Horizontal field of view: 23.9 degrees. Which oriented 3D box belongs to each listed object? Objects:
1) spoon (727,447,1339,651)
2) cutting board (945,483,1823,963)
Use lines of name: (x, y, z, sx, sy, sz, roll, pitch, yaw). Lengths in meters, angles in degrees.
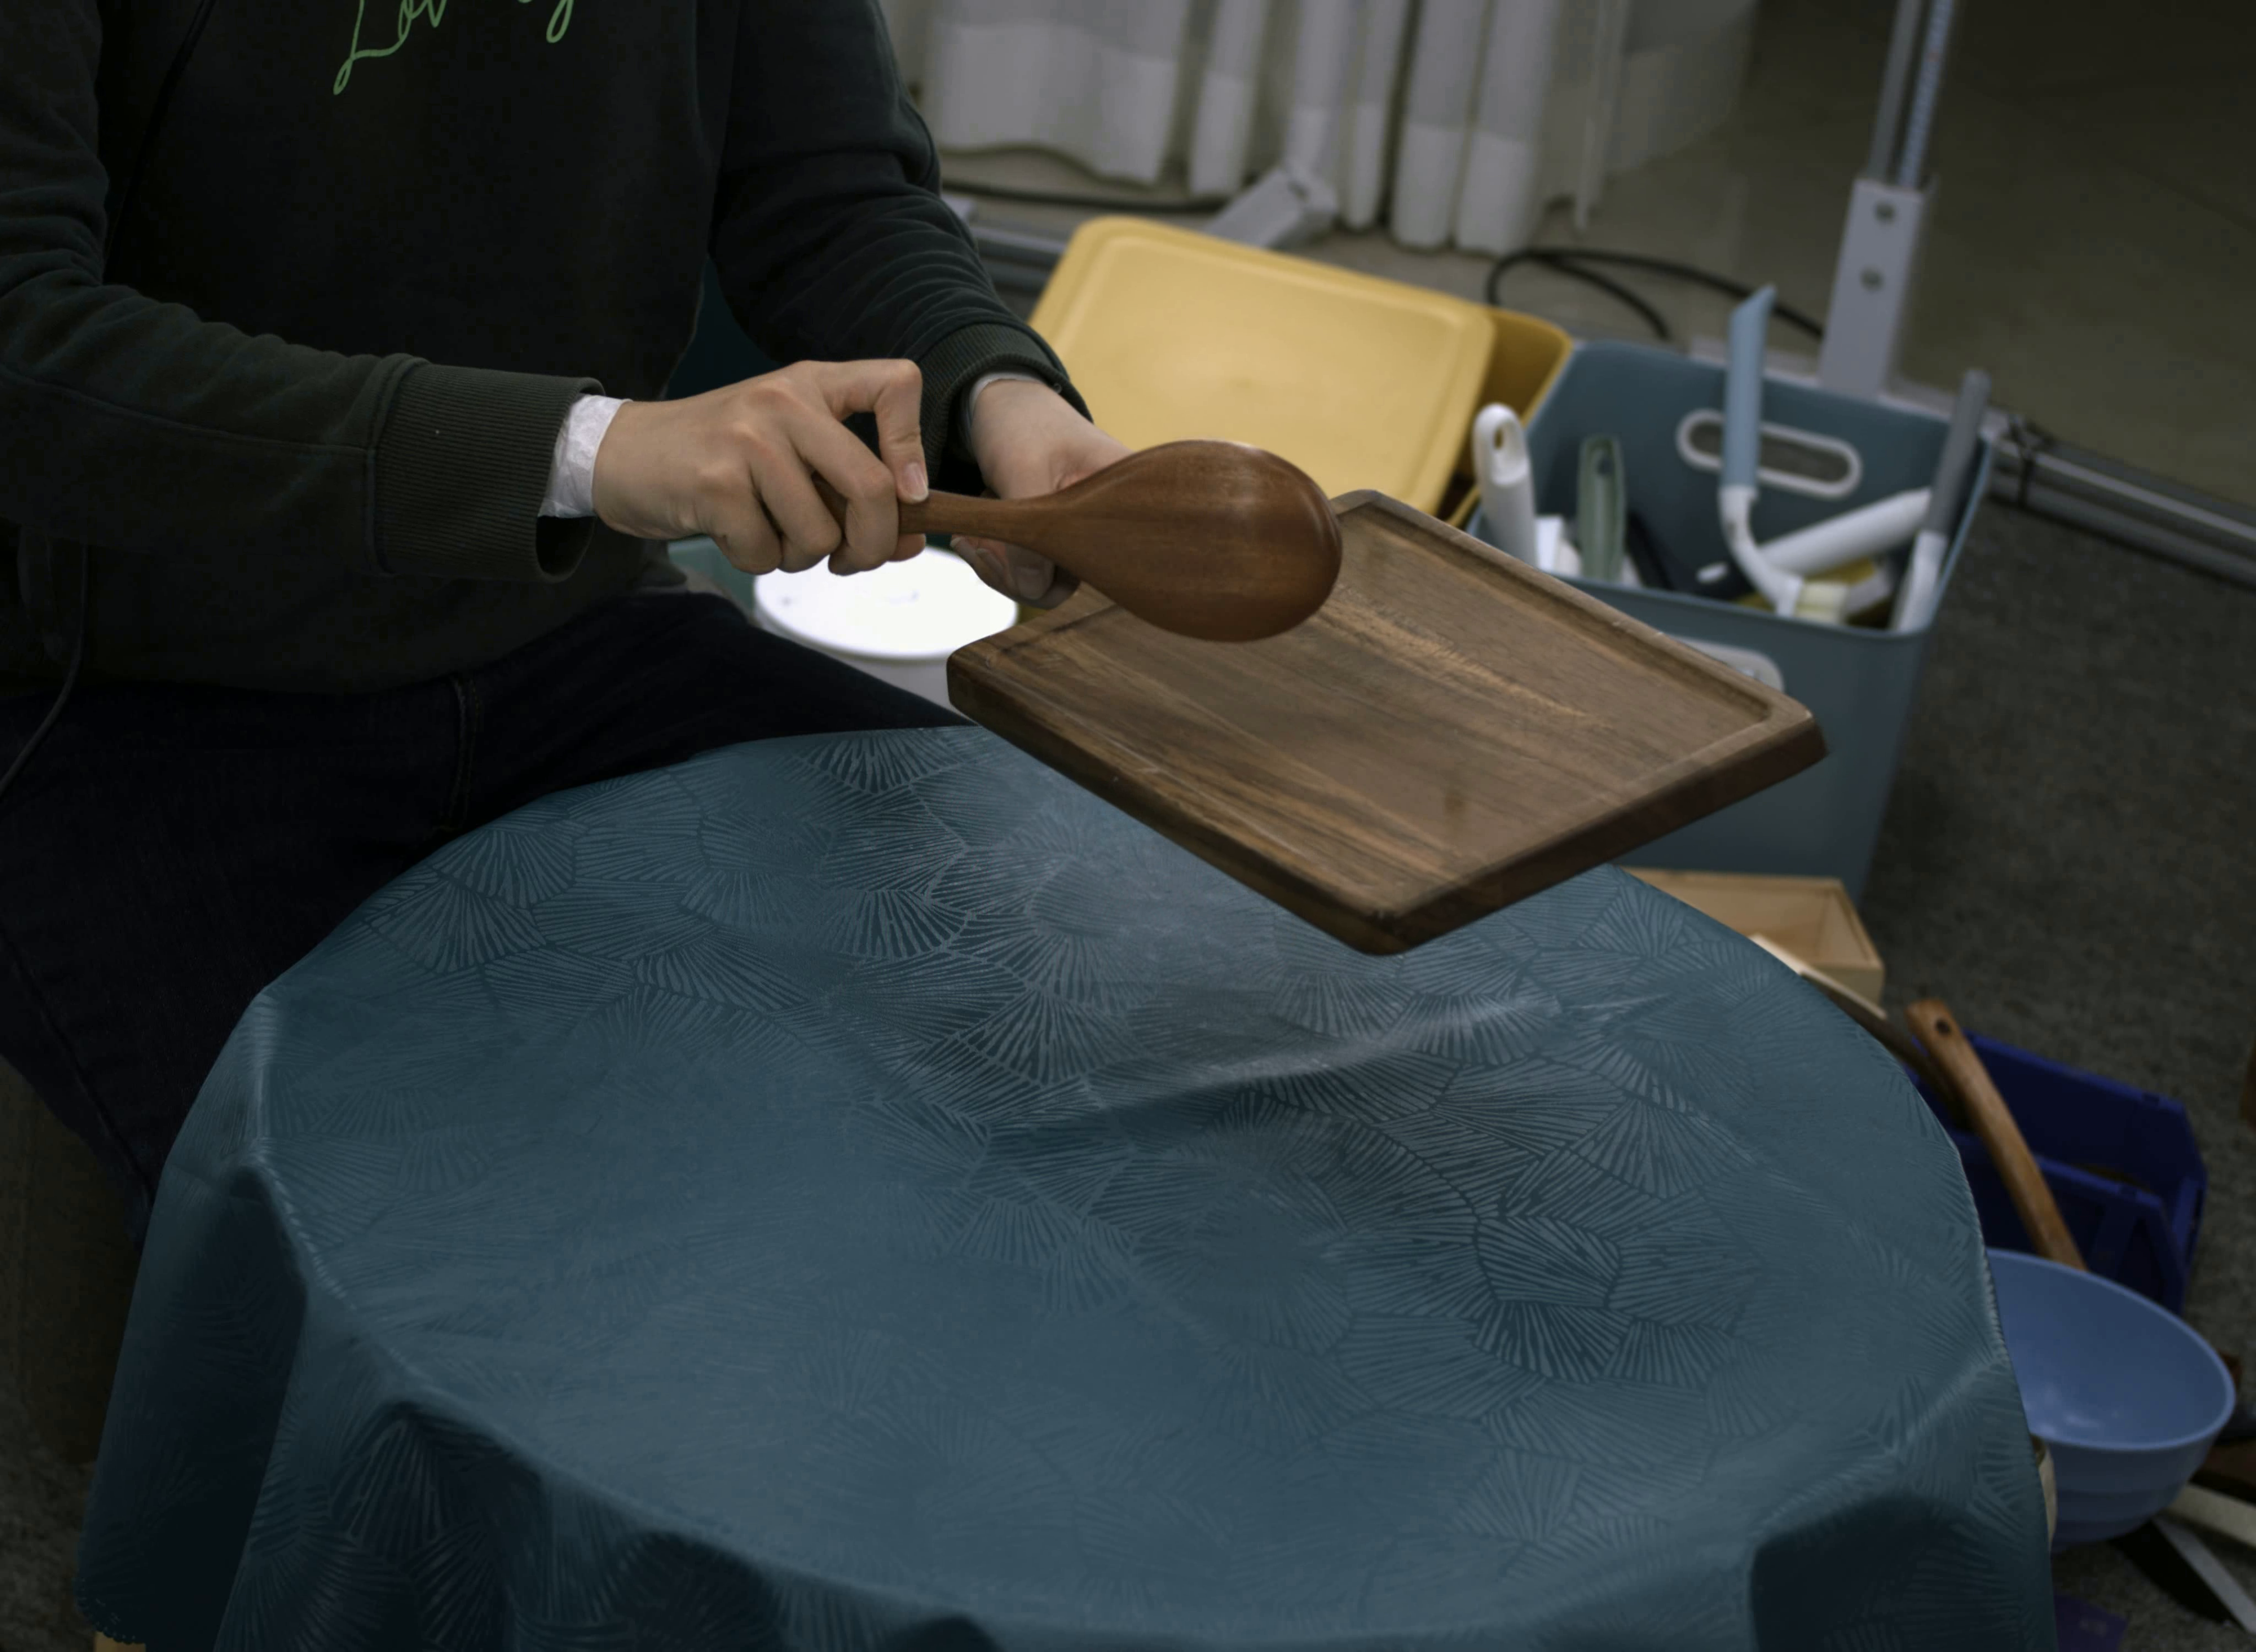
spoon: (-0.034, -0.101, 1.816, 0.216, 0.075, 0.017, 9, 28, 14)
cutting board: (0.056, -0.057, 1.866, 0.200, 0.023, 0.355, -24, 33, -28)
